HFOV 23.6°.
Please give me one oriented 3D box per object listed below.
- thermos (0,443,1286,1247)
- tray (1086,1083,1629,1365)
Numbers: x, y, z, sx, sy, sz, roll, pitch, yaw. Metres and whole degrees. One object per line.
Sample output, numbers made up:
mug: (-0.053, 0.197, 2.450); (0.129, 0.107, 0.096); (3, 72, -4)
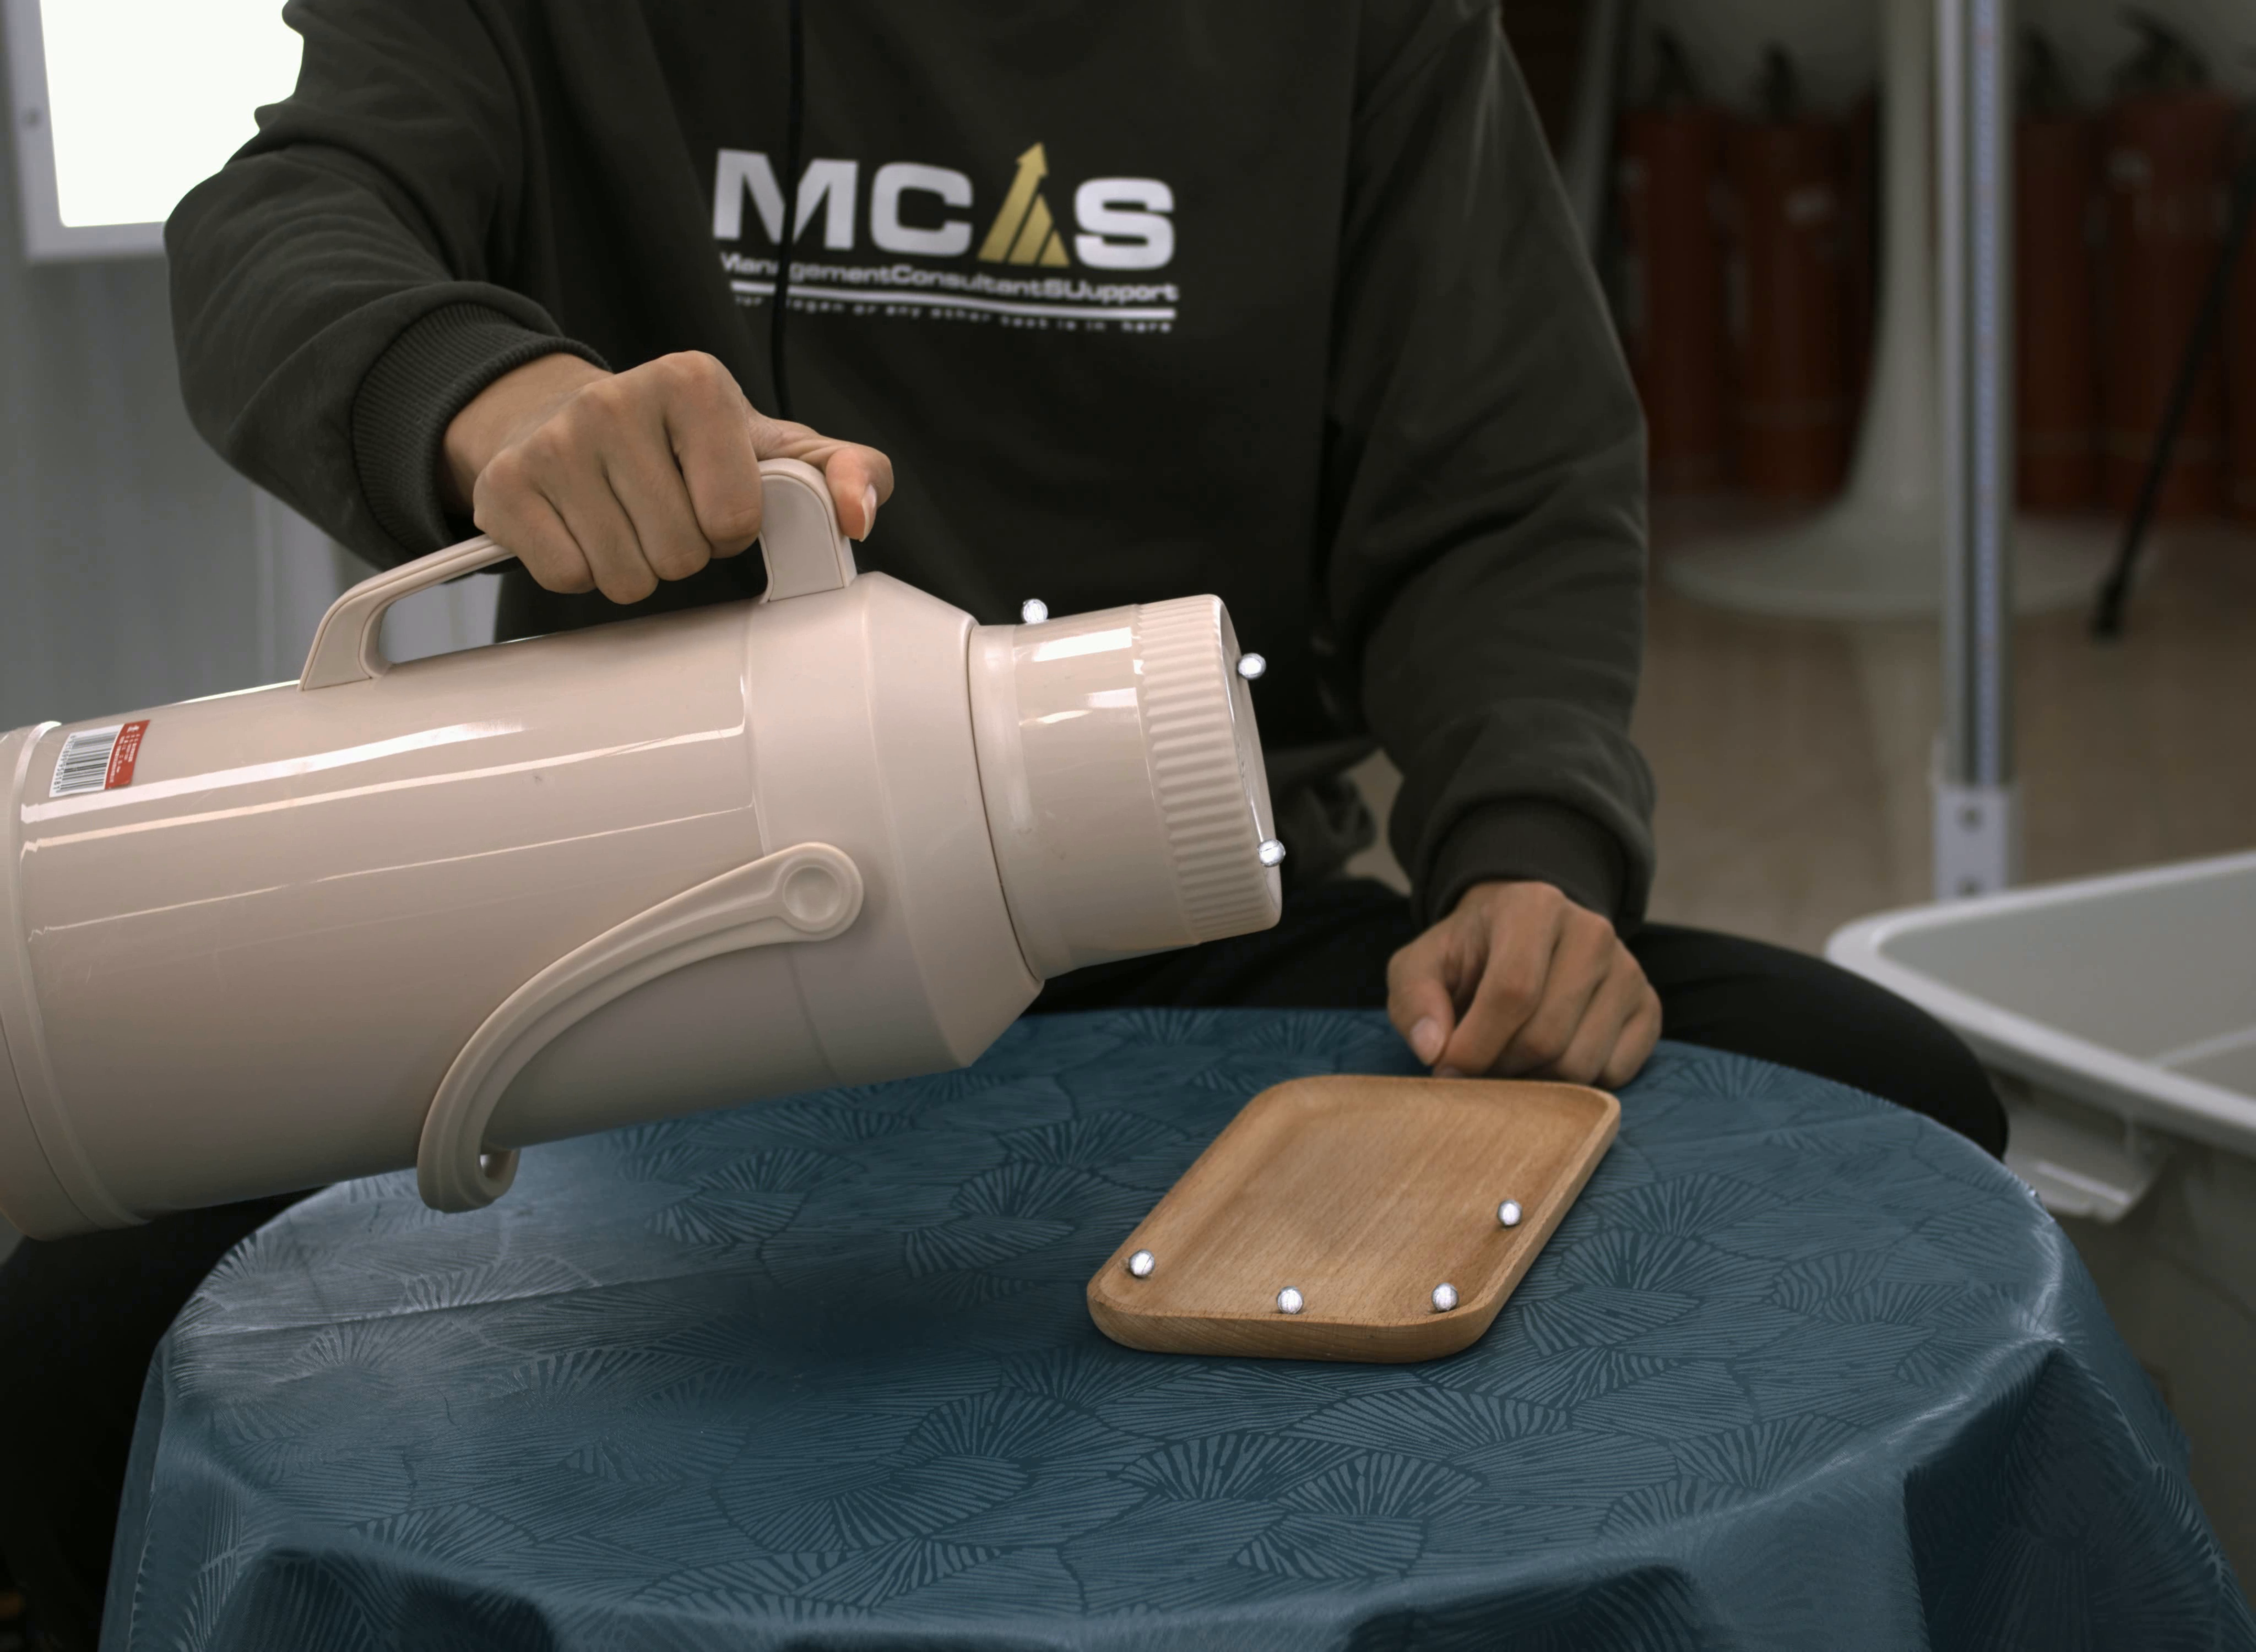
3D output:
thermos: (-0.159, 0.001, 1.662); (0.403, 0.209, 0.175); (-11, 10, 8)
tray: (0.077, 0.124, 1.712); (0.130, 0.023, 0.248); (3, 14, 18)
